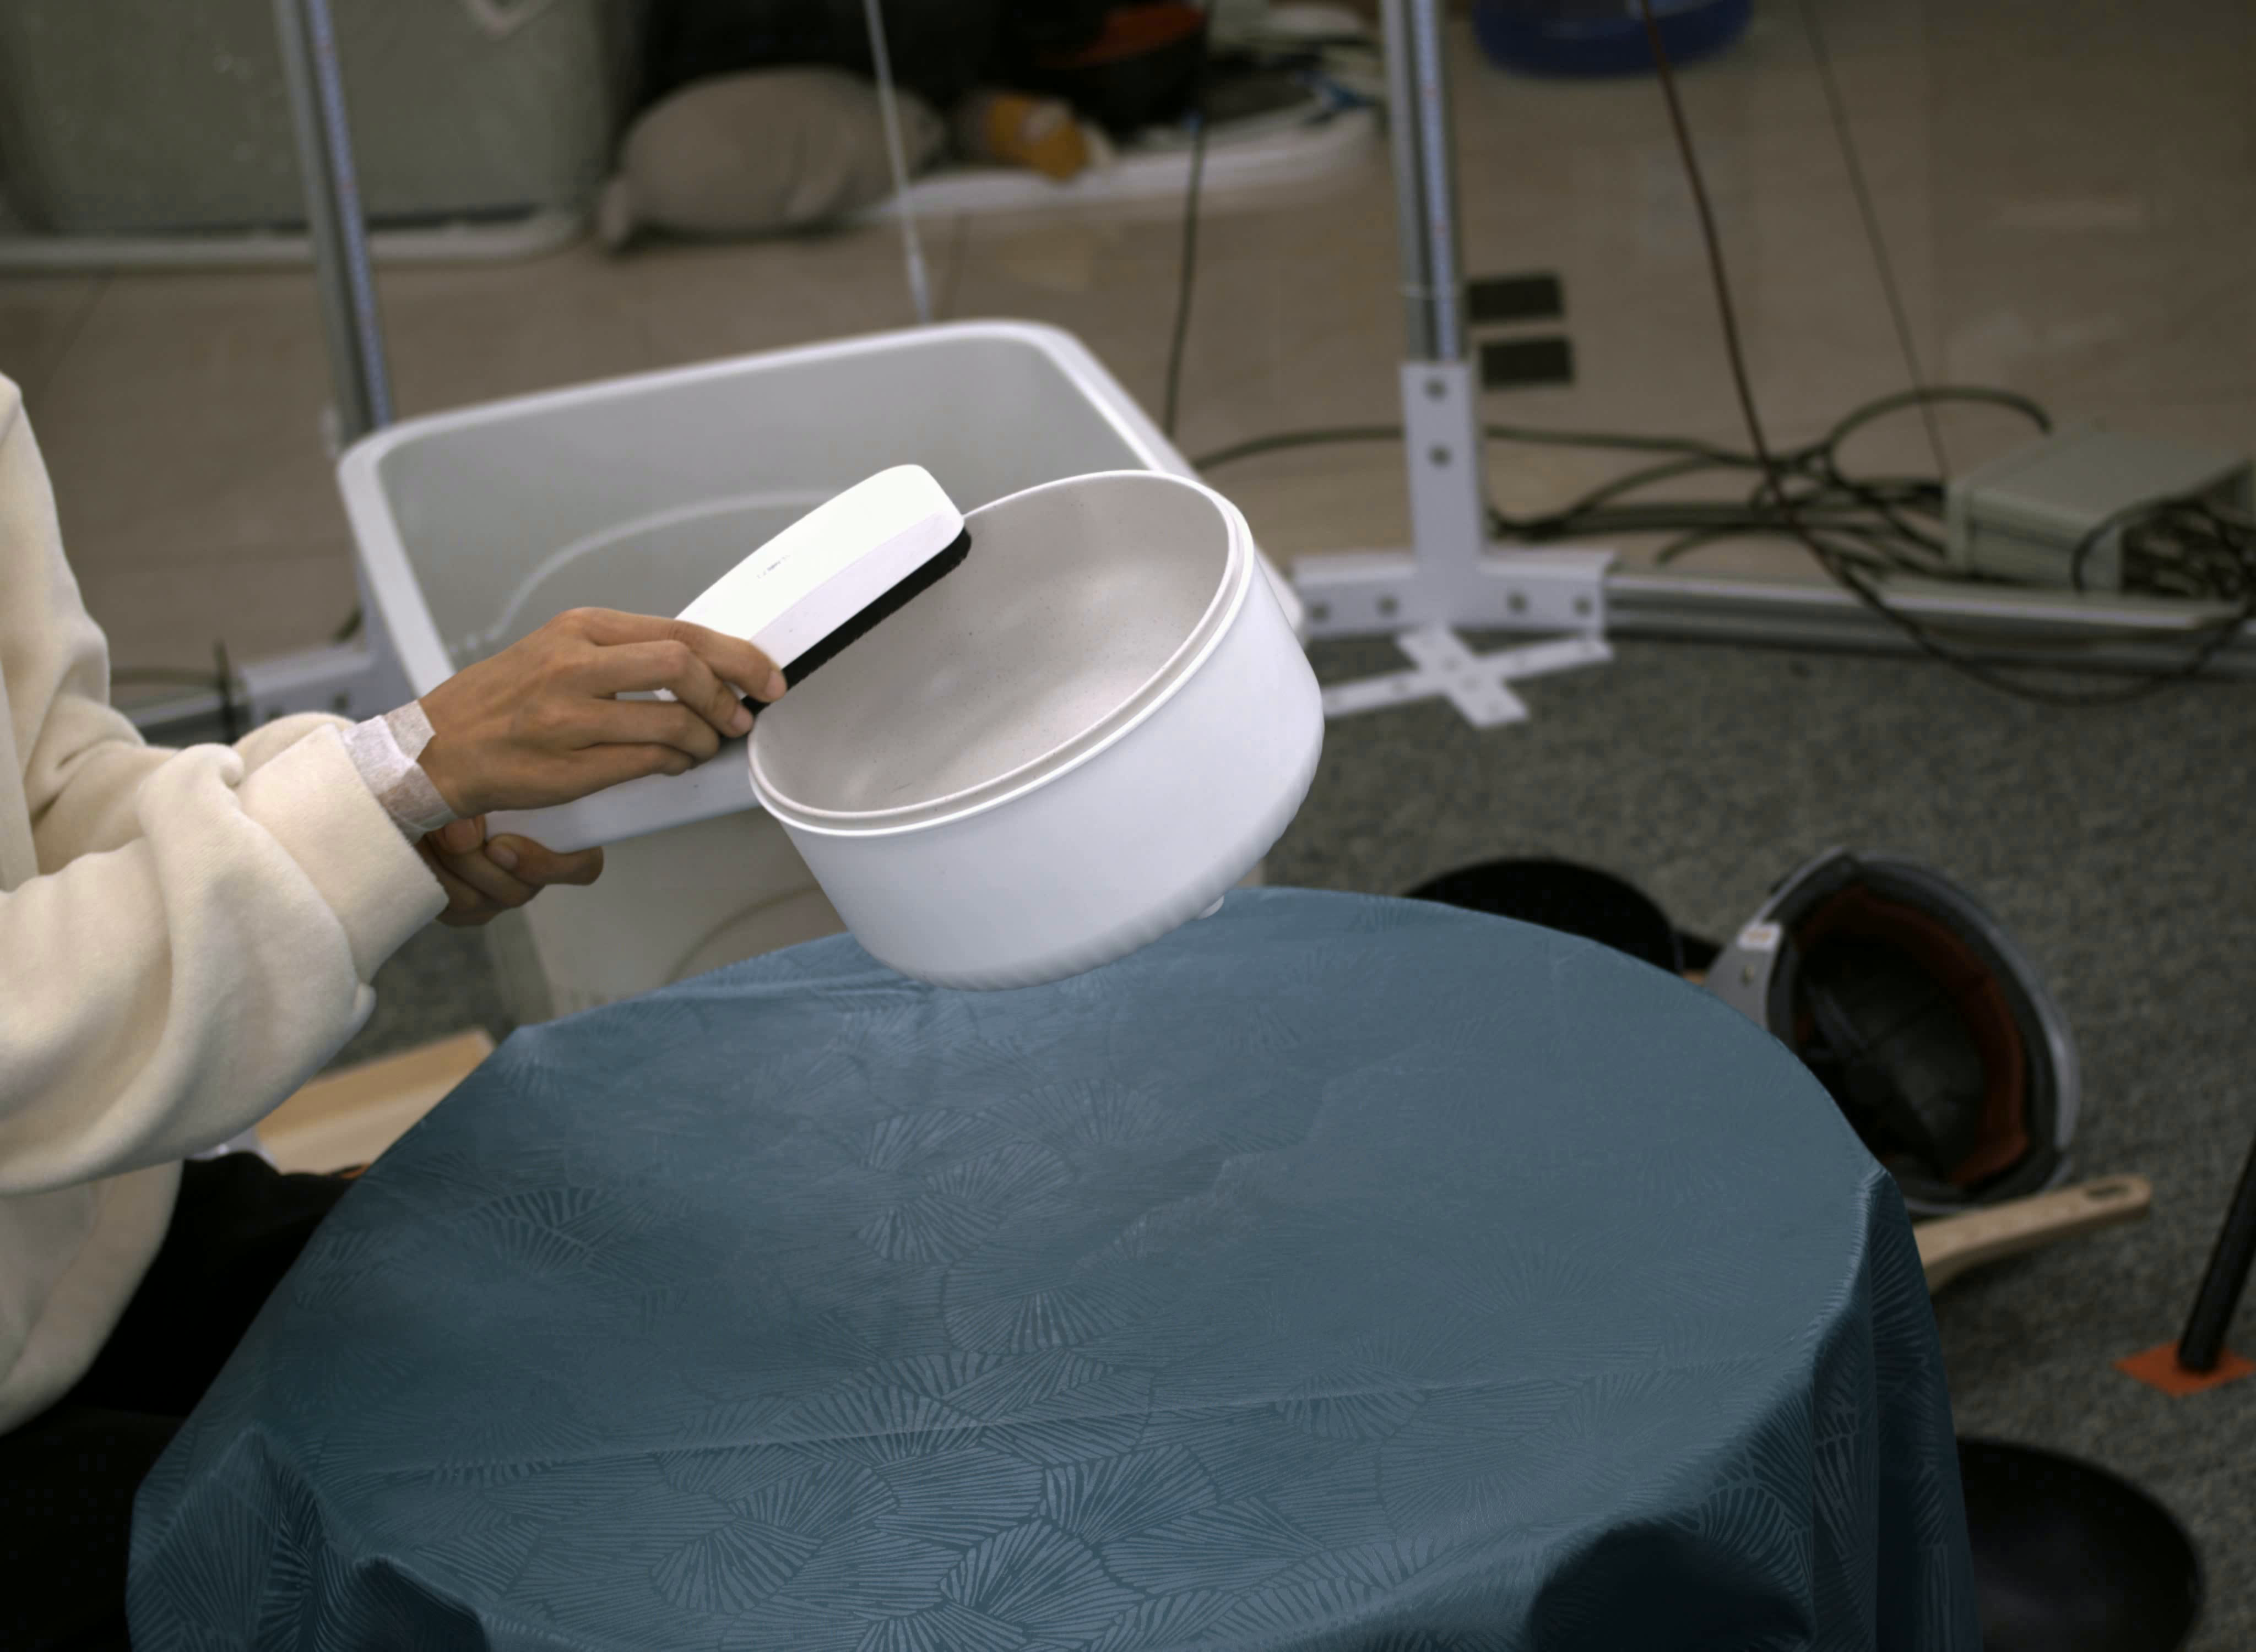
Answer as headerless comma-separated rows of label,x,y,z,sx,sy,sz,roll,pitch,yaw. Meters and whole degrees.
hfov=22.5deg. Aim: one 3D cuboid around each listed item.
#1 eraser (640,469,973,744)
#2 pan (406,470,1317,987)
eraser,-0.119,-0.084,2.075,0.131,0.035,0.063,-37,25,-4
pan,-0.097,-0.012,2.084,0.355,0.103,0.198,-15,32,27
